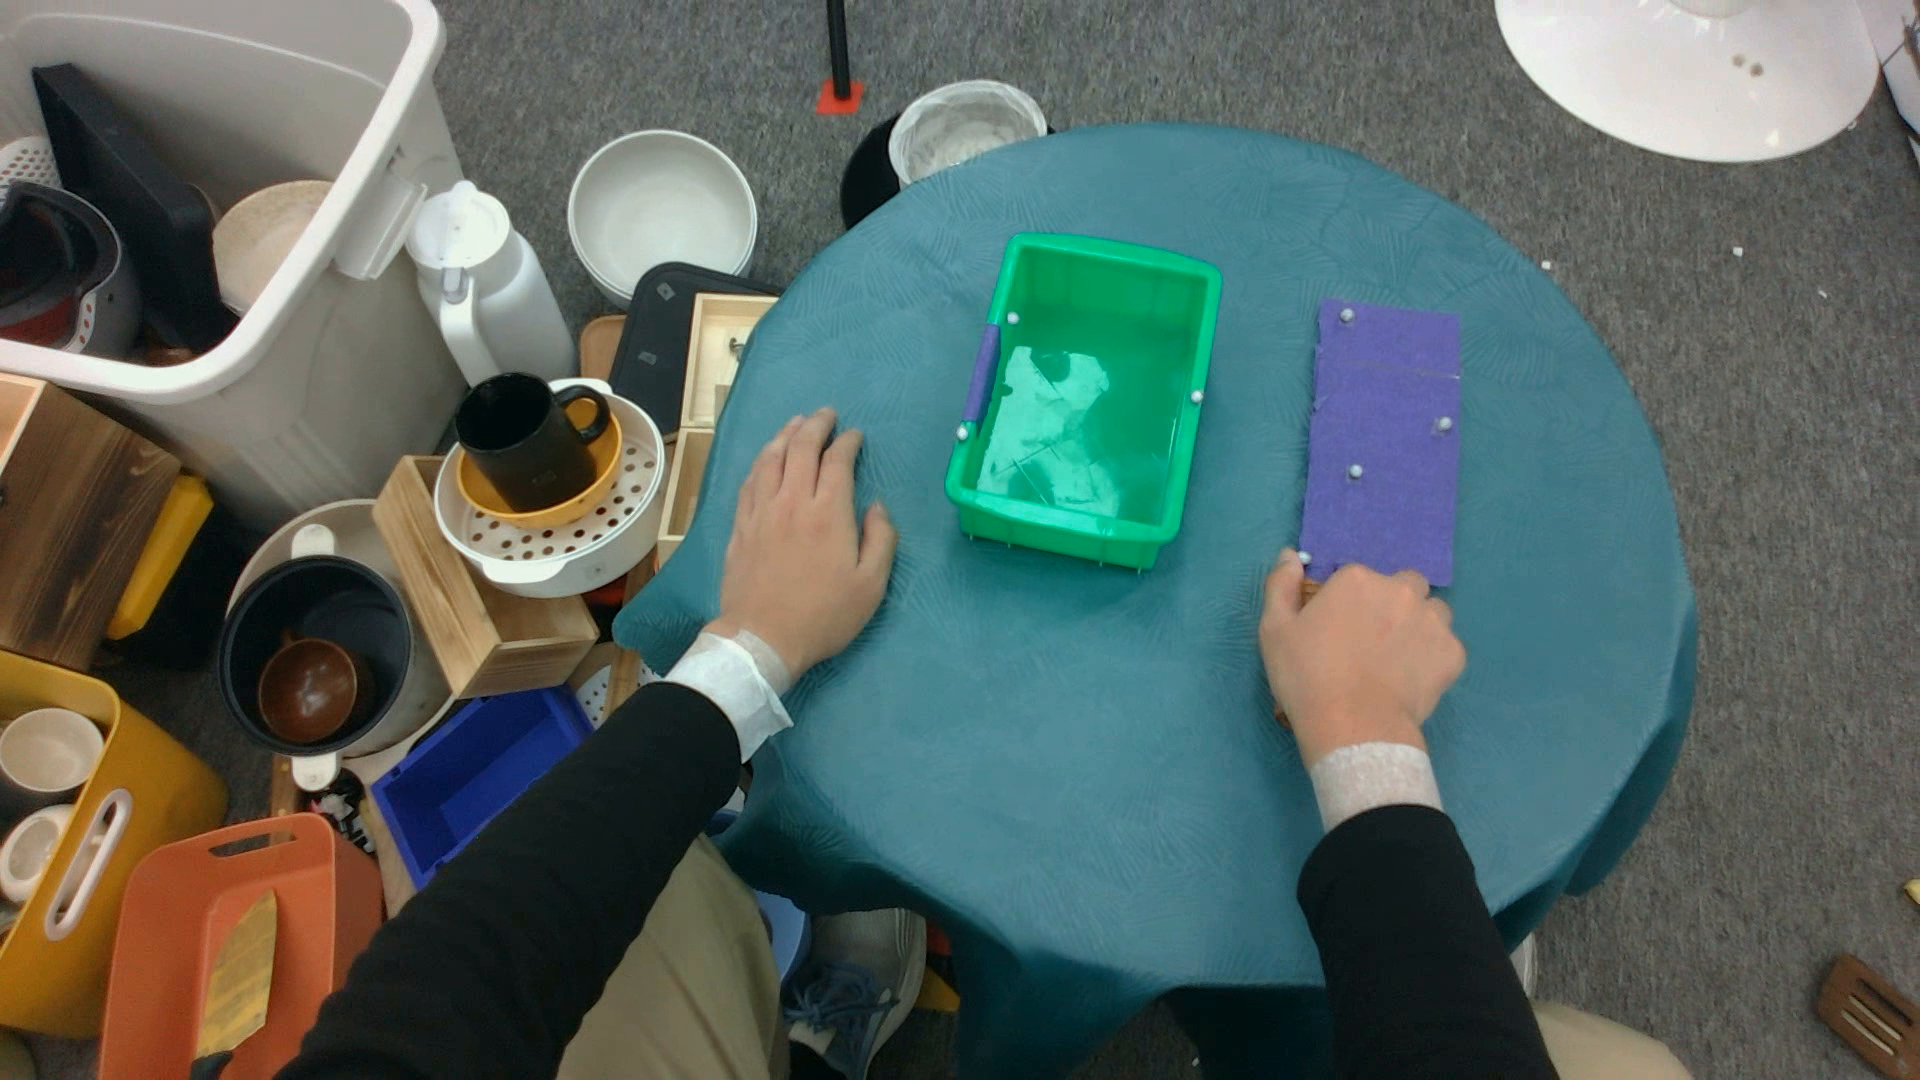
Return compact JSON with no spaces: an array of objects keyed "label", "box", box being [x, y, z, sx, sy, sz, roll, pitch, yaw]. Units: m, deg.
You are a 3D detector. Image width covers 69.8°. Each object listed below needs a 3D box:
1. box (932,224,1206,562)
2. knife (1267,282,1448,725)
[{"label":"box","box":[0.068,-0.089,0.849,0.138,0.065,0.211,10,65,6]},{"label":"knife","box":[0.244,-0.032,0.843,0.104,0.032,0.316,10,62,4]}]
